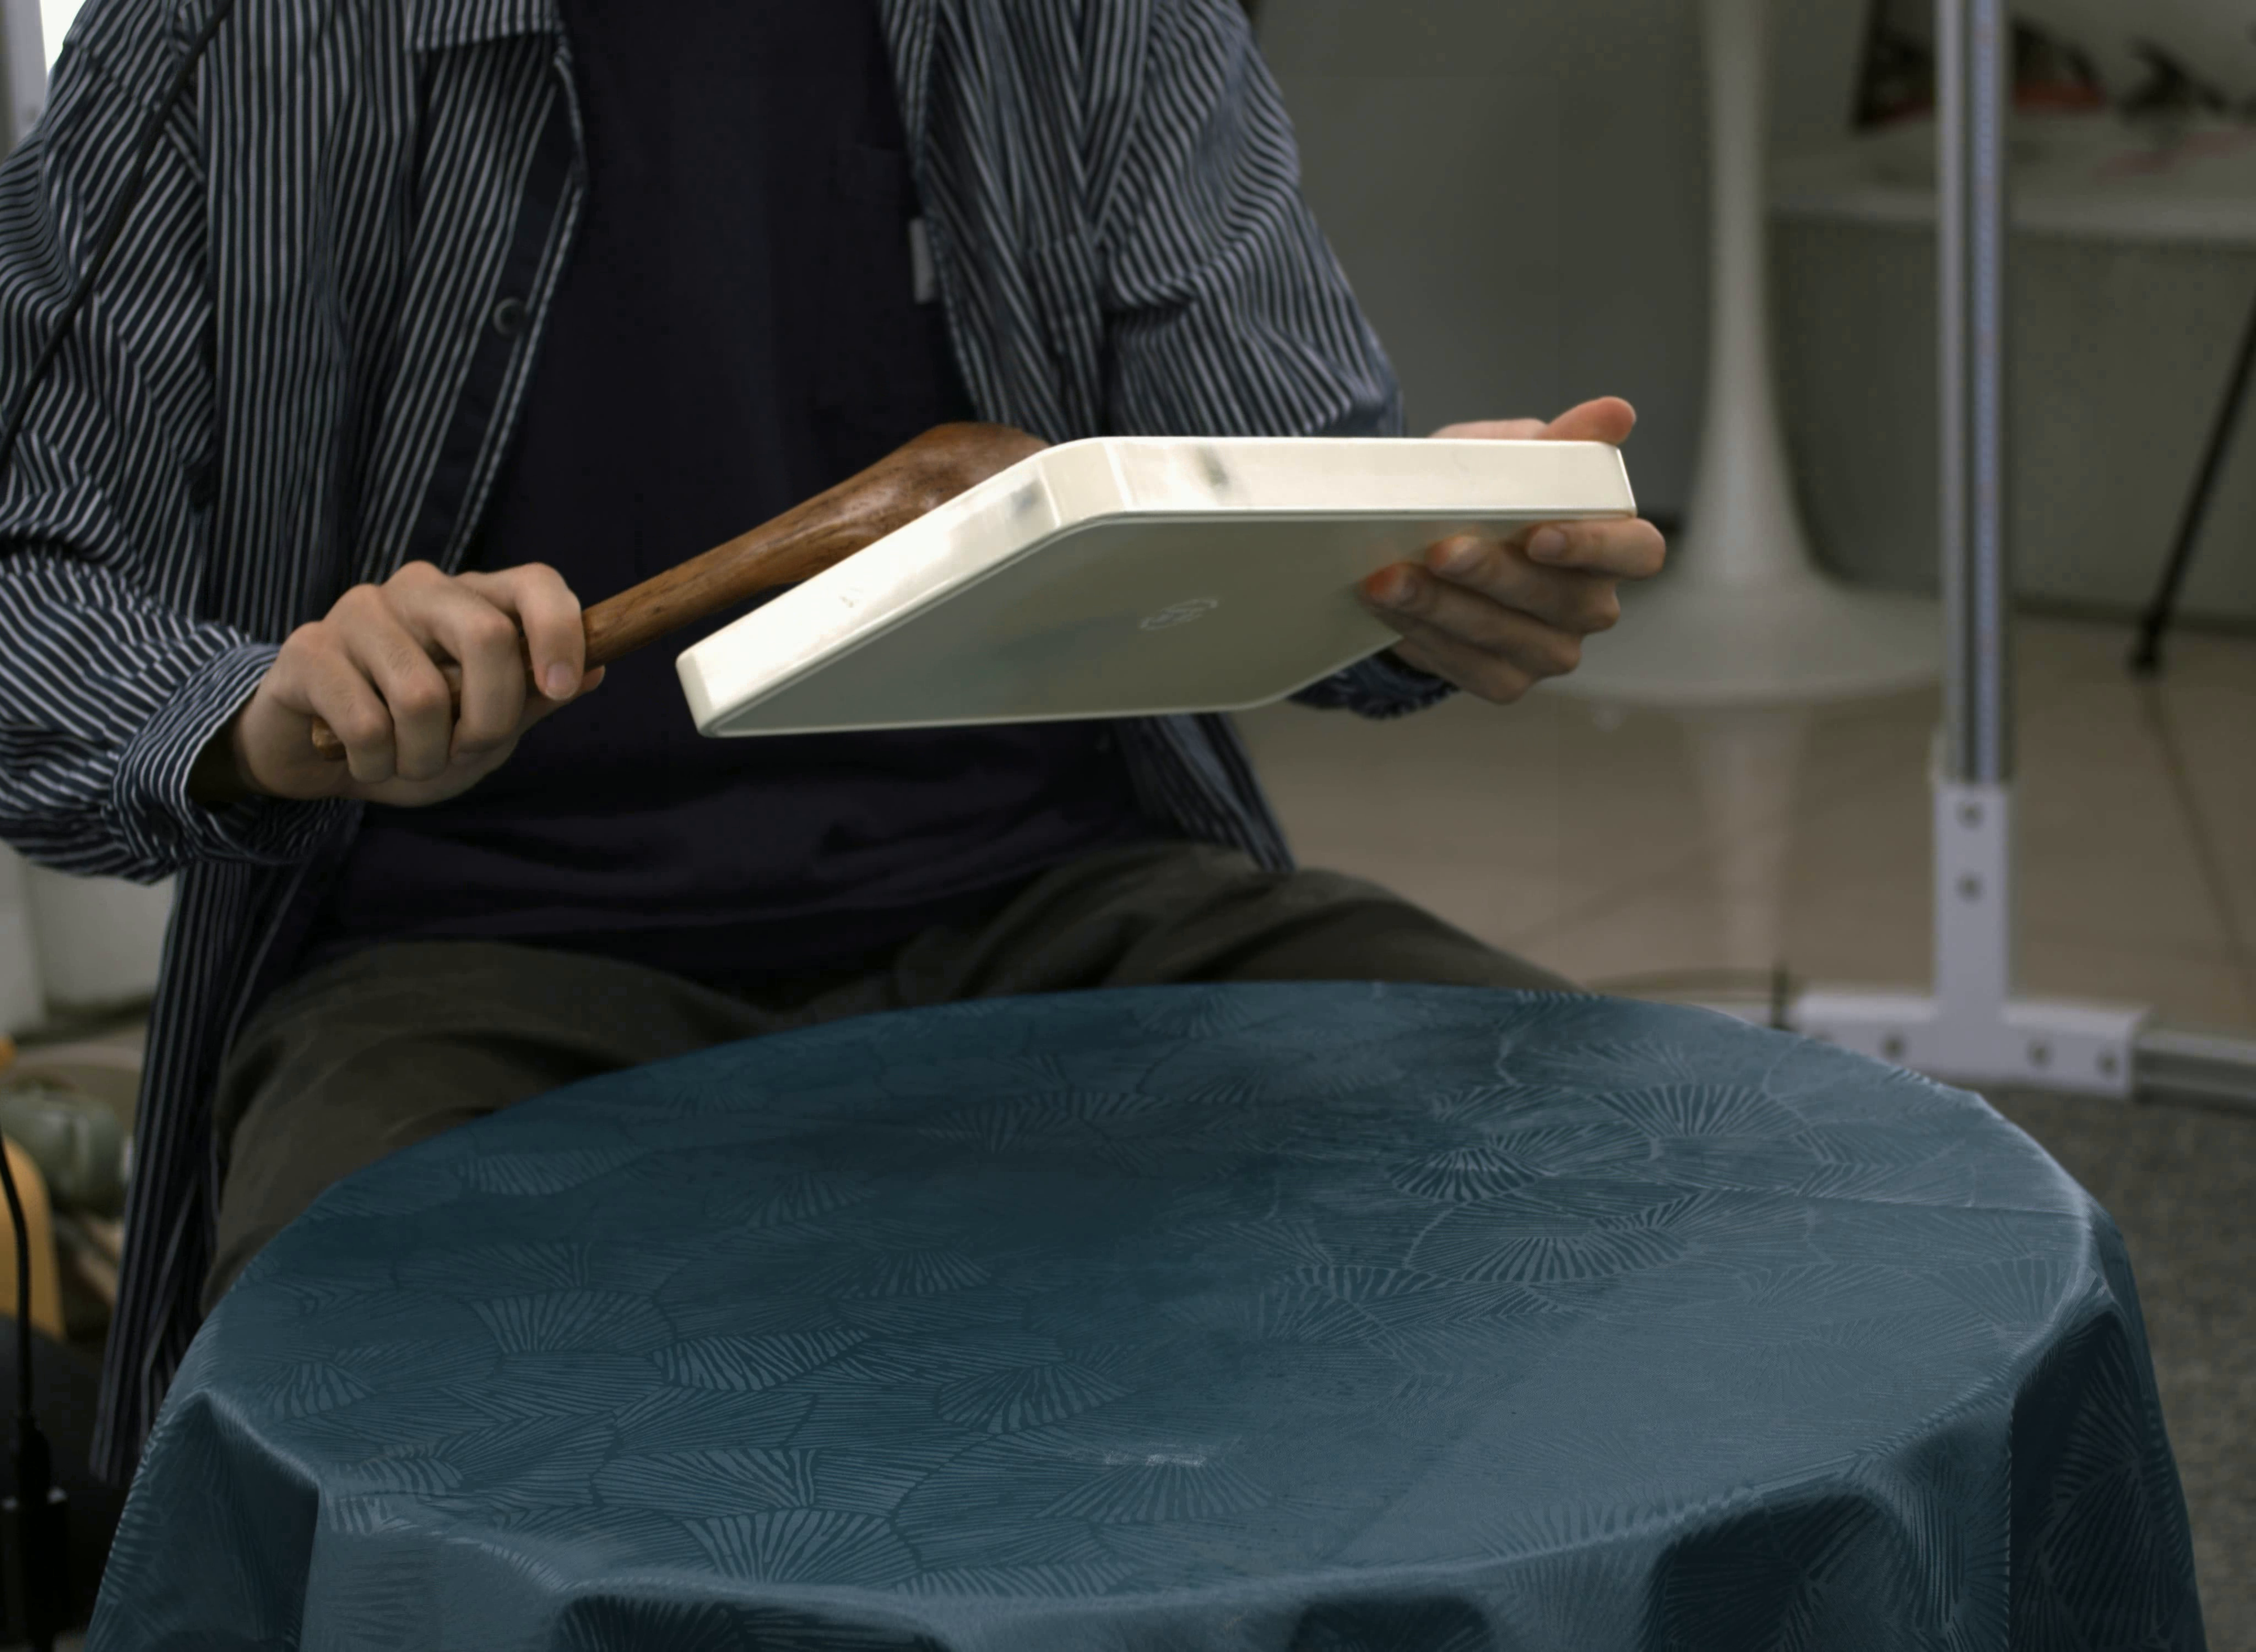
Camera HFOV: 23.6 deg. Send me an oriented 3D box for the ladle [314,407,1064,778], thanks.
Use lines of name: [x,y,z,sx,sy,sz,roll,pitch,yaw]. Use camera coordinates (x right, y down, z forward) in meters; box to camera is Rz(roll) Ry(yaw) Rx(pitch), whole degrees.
ladle: [-0.135,-0.062,1.784,0.274,0.076,0.083,-24,45,18]

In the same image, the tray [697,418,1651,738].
tray: [0.020,-0.079,1.767,0.193,0.028,0.294,-29,-16,39]
